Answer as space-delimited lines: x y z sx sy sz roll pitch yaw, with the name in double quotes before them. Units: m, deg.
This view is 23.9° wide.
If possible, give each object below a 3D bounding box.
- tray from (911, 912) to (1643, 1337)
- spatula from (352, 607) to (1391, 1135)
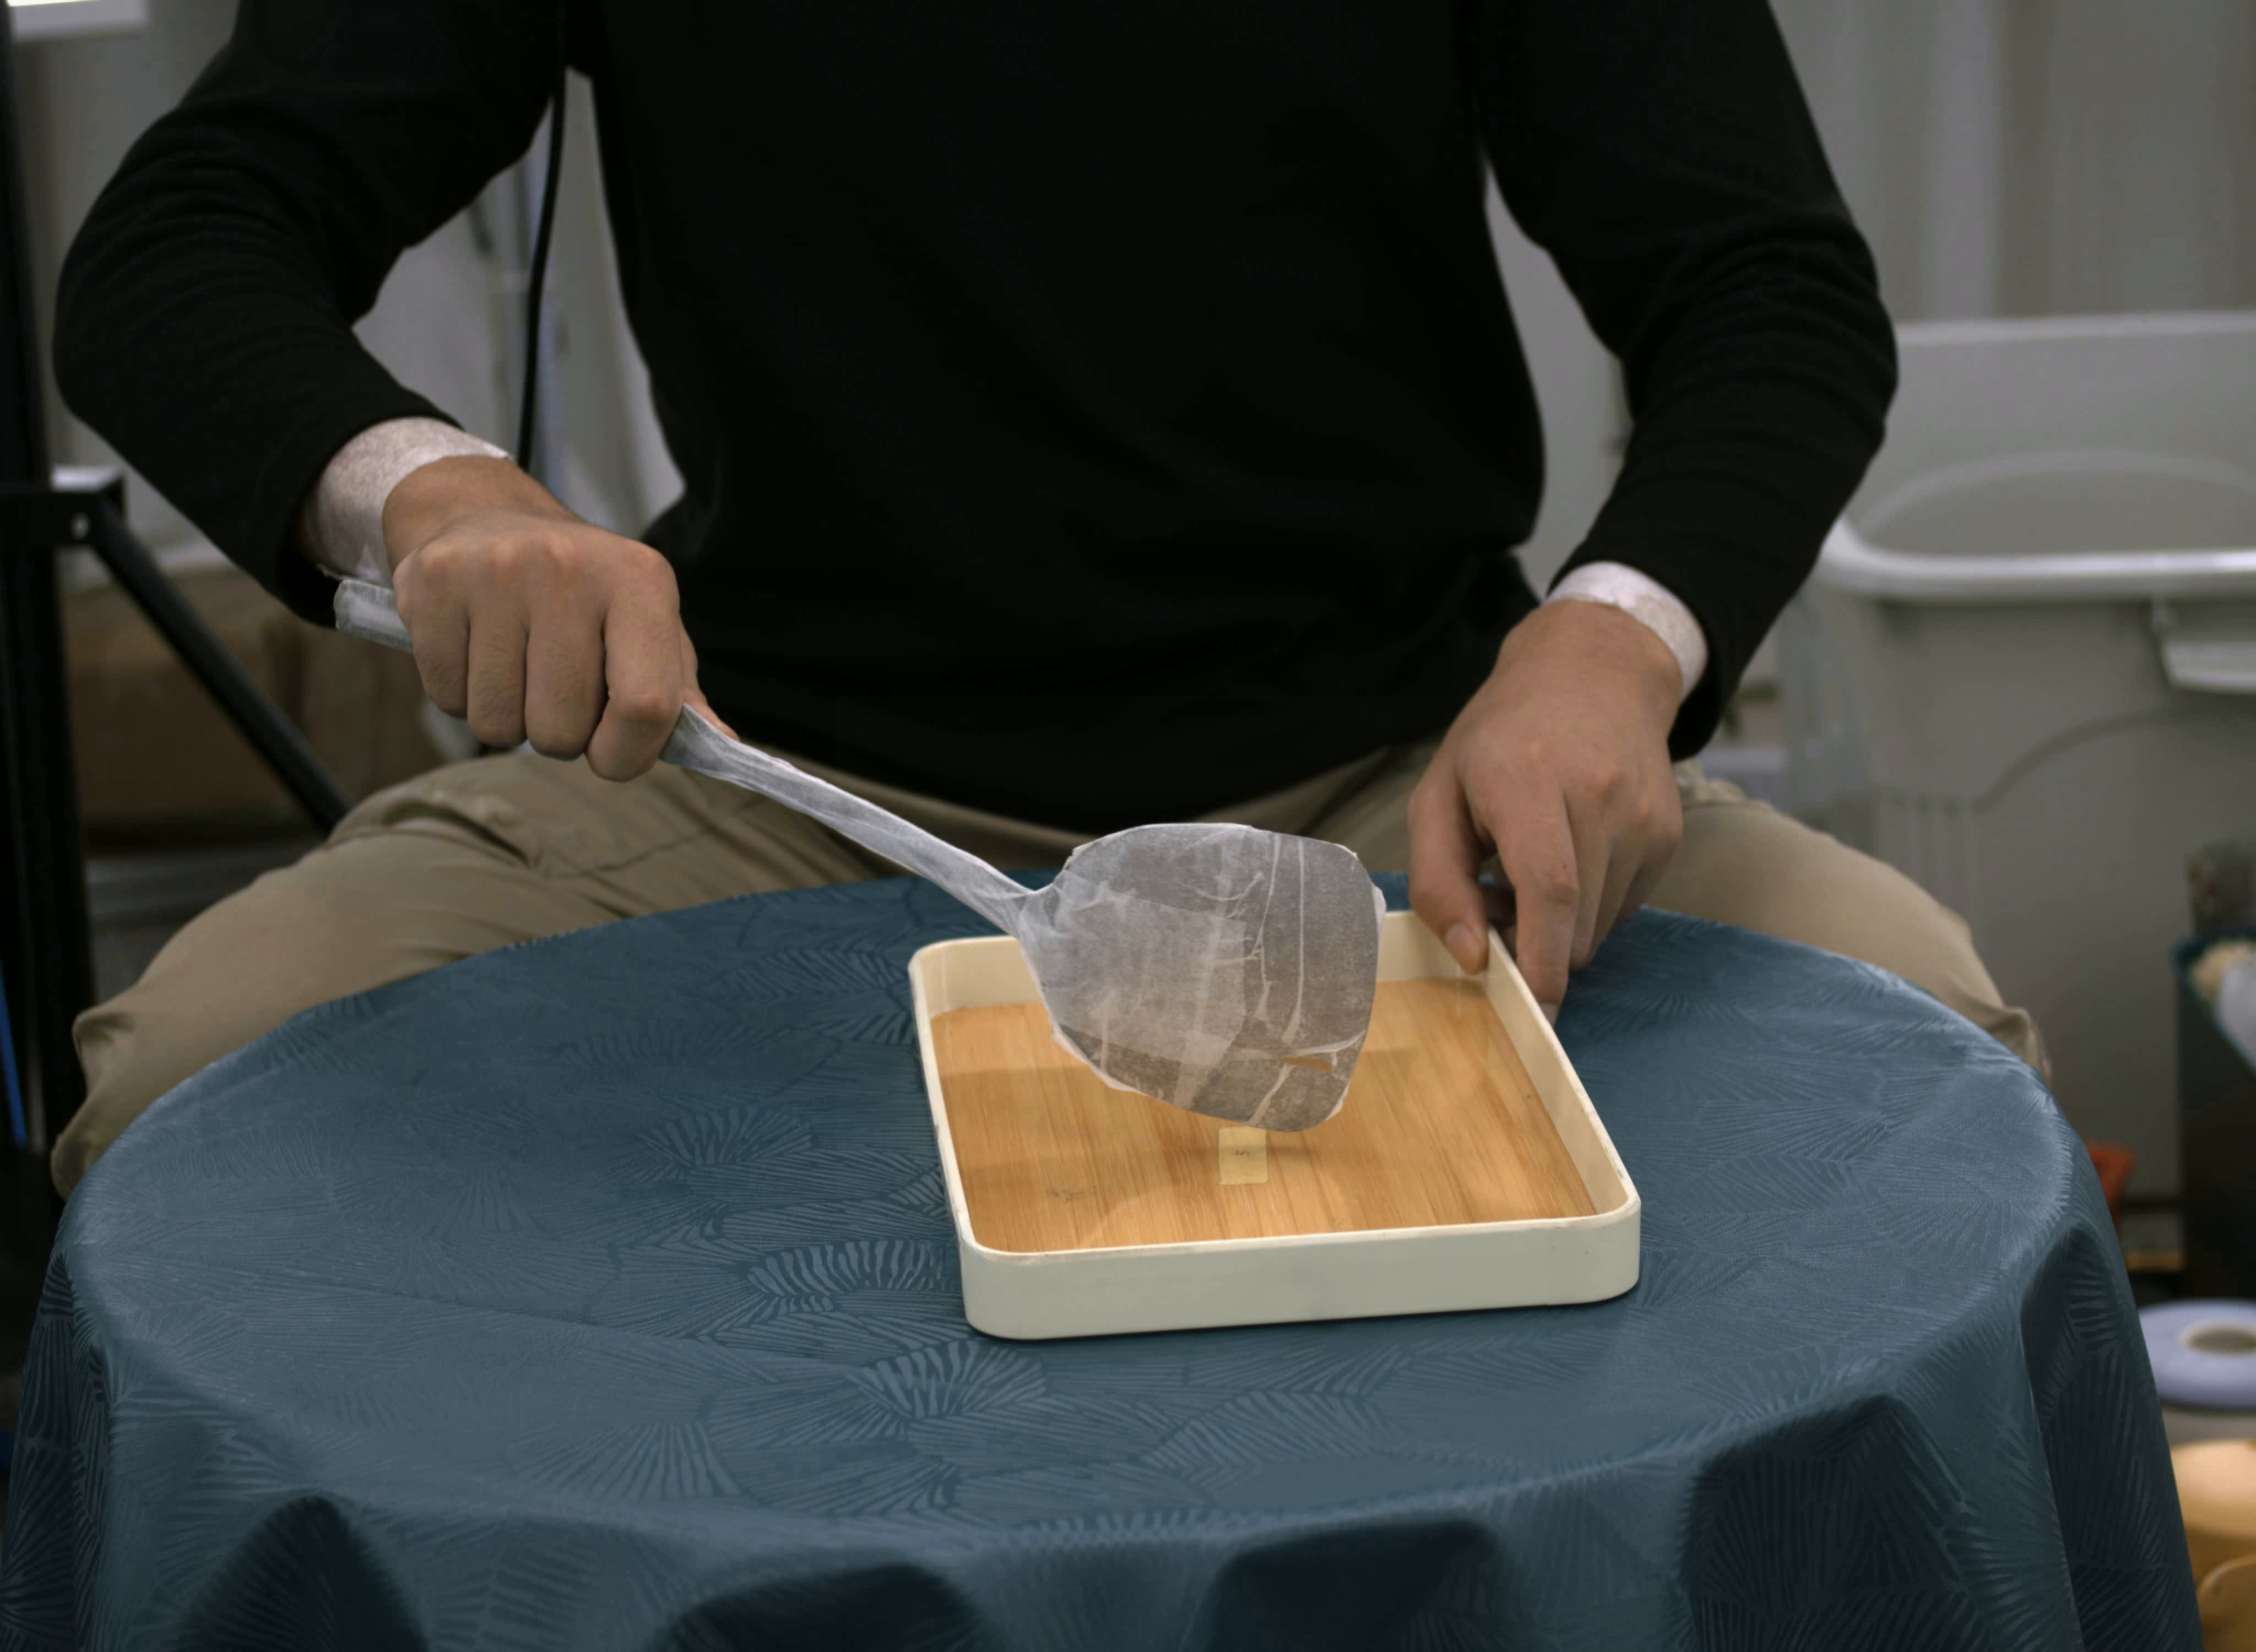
"tray" 0.037 0.085 1.584 0.190 0.027 0.302 -4 16 -3
"spatula" -0.085 -0.005 1.619 0.372 0.099 0.044 25 30 29
